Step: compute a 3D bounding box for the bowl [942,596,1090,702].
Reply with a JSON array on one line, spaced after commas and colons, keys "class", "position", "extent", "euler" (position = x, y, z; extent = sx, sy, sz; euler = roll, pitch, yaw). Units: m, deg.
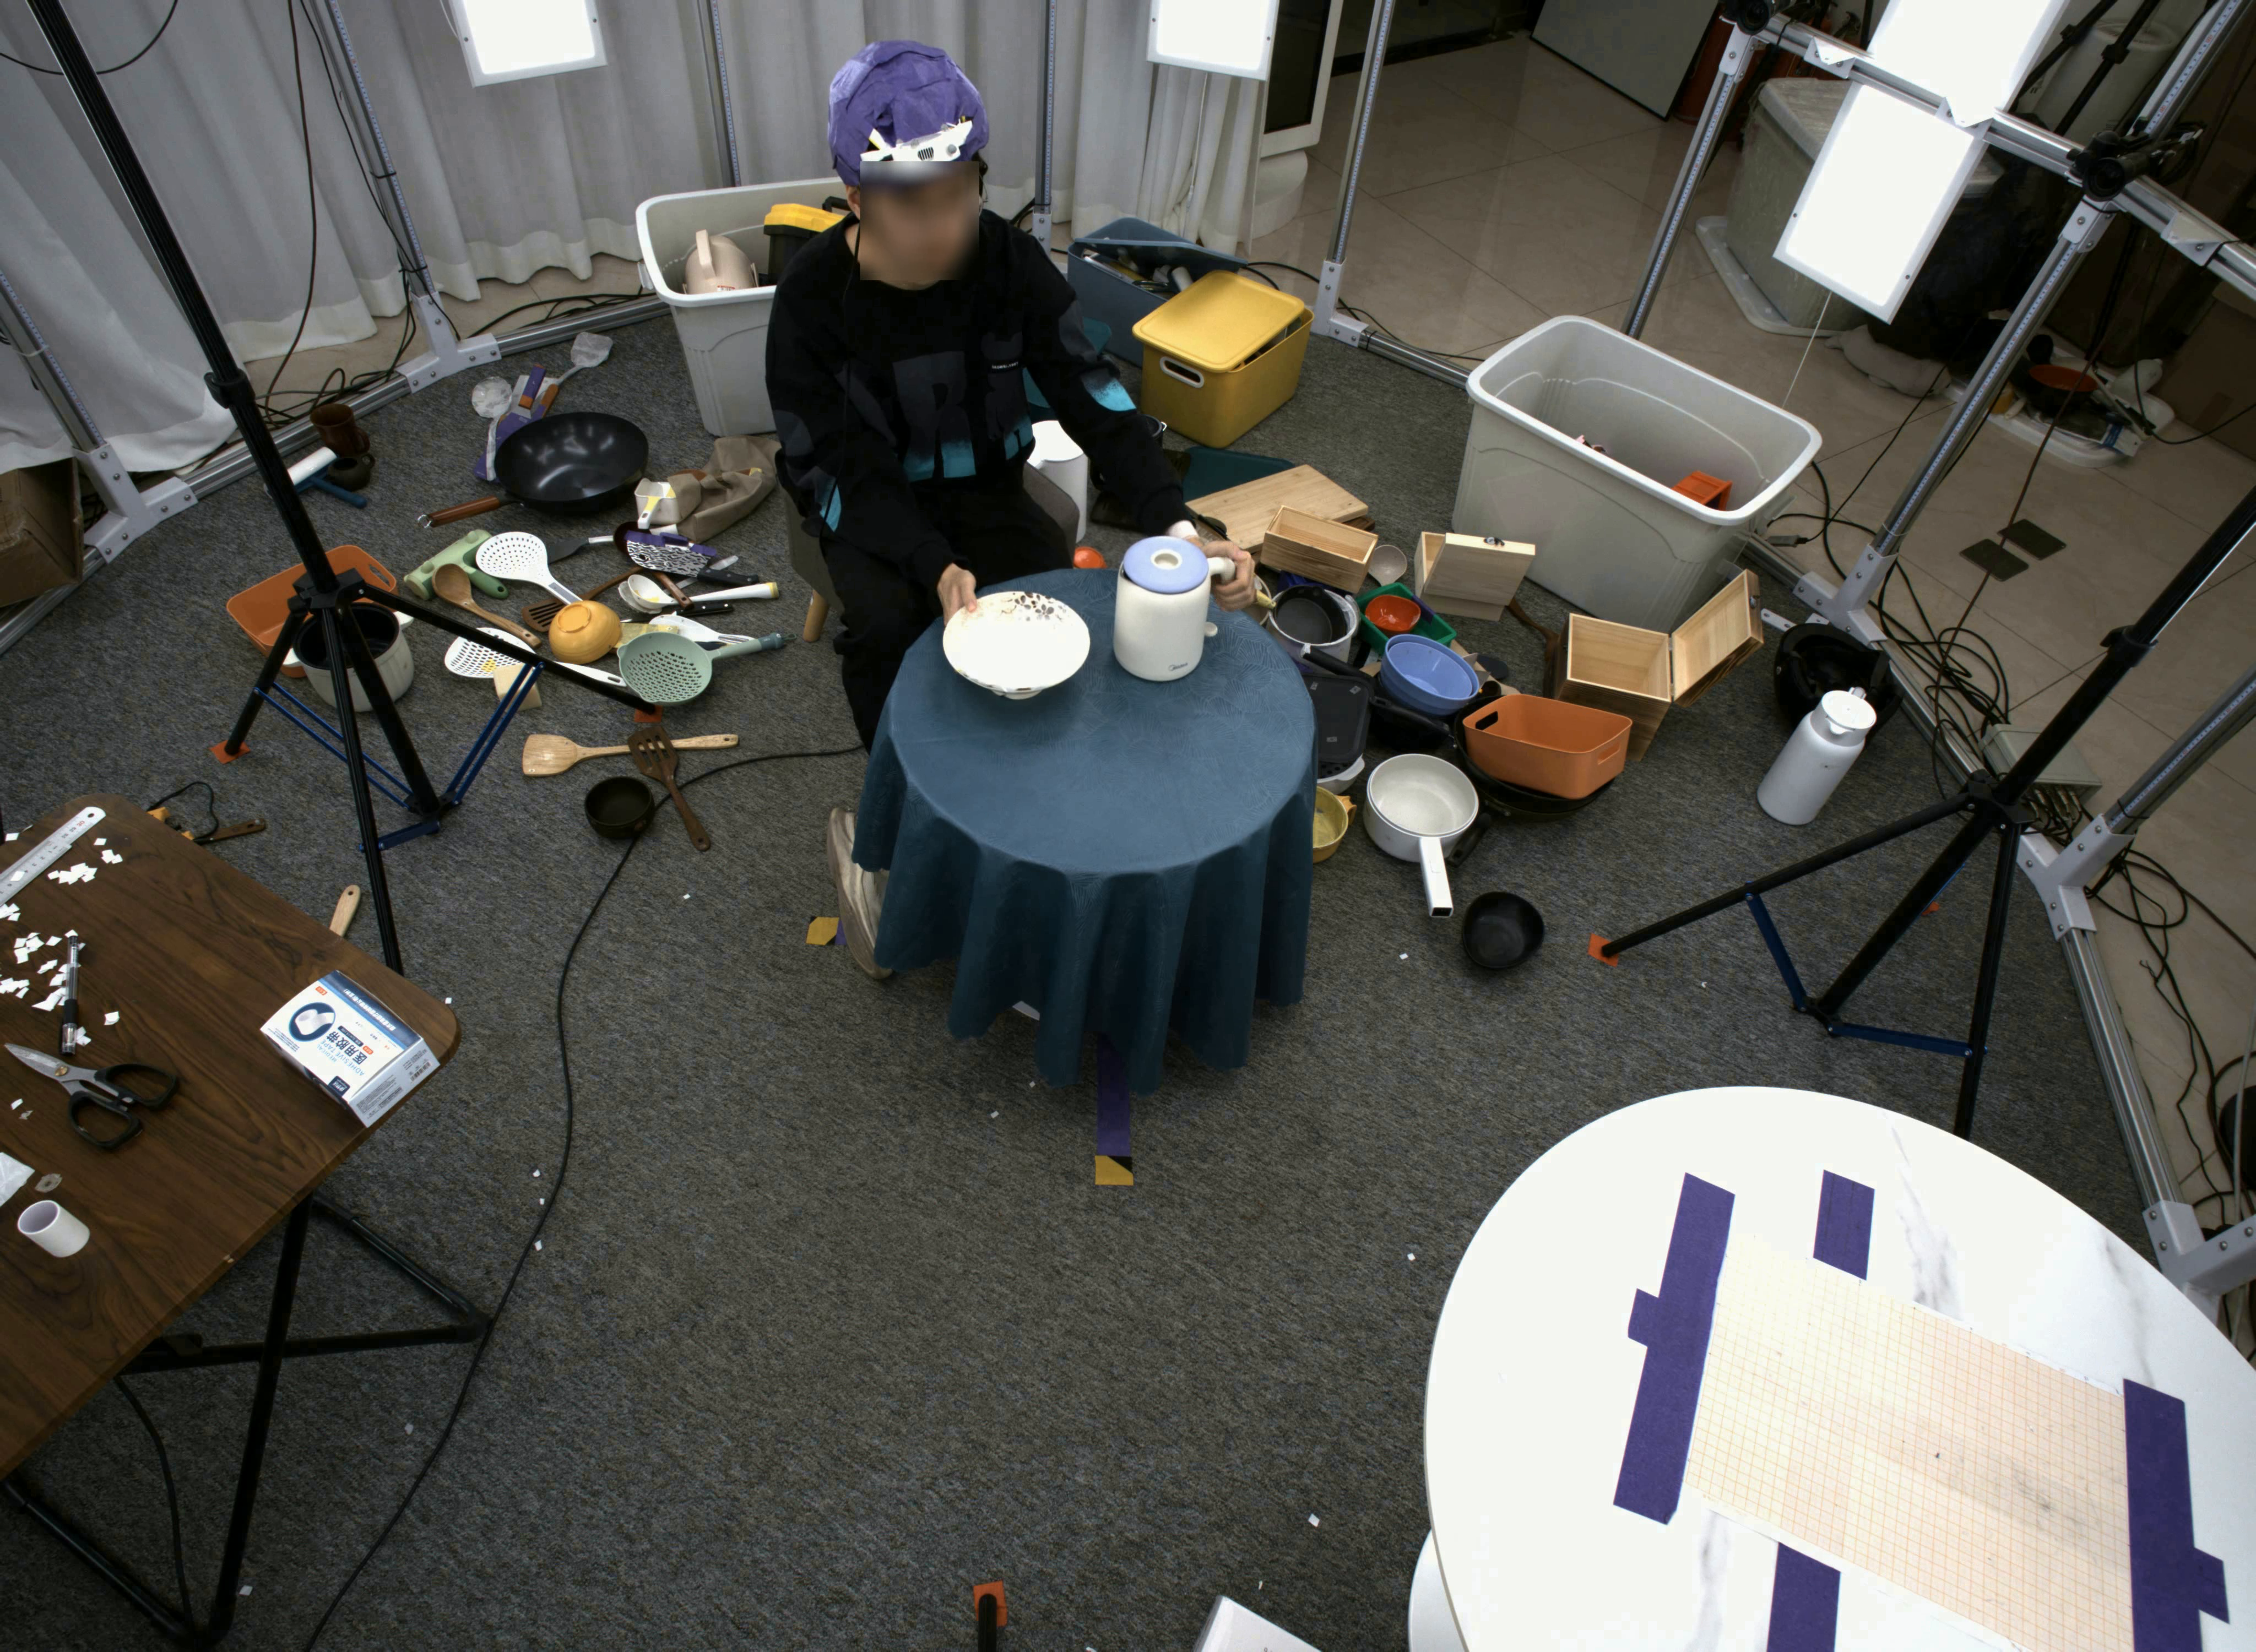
[{"class": "bowl", "position": [-0.156, -0.233, 1.813], "extent": [0.204, 0.076, 0.209], "euler": [1, 46, -2]}]

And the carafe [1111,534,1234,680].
[{"class": "carafe", "position": [0.068, -0.318, 1.838], "extent": [0.191, 0.178, 0.135], "euler": [-17, 54, -21]}]
